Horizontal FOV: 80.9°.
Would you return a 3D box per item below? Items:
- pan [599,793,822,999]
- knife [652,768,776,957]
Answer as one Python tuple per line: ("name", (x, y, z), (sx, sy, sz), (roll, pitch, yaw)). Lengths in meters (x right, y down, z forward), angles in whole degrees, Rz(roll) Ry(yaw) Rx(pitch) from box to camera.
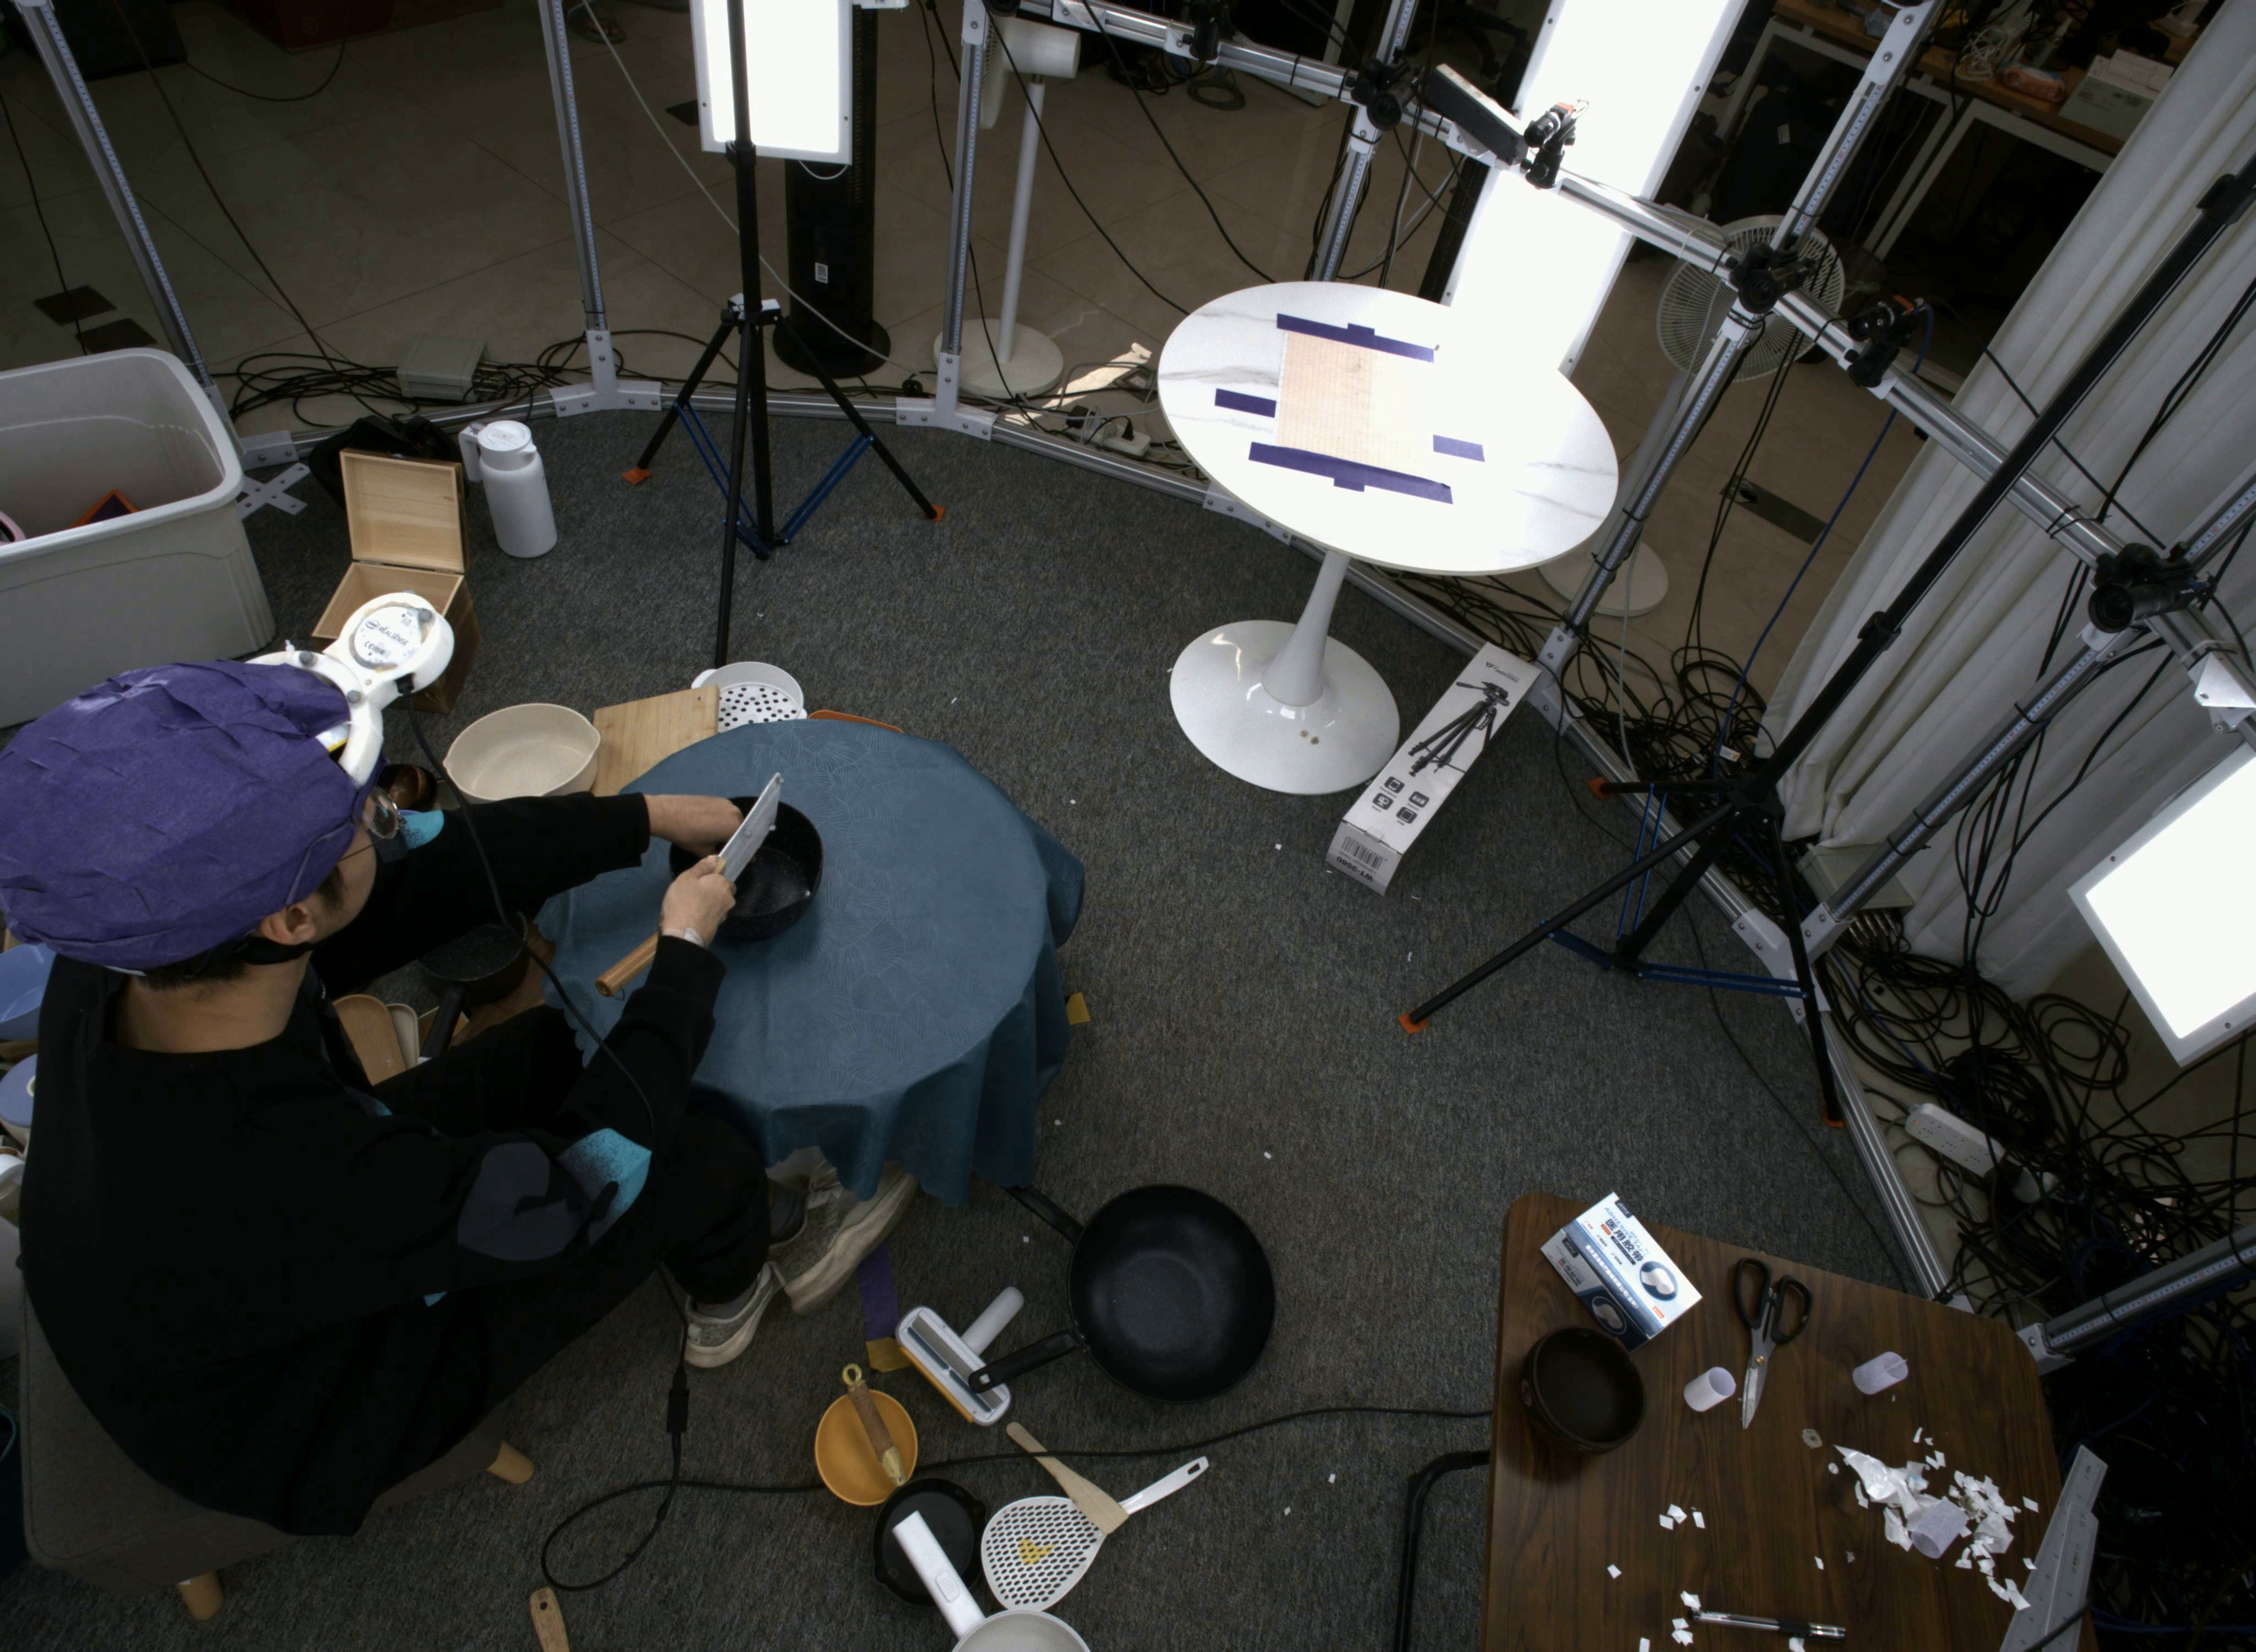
("pan", (-0.506, 0.102, 1.544), (0.204, 0.110, 0.341), (29, 51, 7))
("knife", (-0.464, 0.041, 1.475), (0.021, 0.116, 0.311), (19, 33, 0))
